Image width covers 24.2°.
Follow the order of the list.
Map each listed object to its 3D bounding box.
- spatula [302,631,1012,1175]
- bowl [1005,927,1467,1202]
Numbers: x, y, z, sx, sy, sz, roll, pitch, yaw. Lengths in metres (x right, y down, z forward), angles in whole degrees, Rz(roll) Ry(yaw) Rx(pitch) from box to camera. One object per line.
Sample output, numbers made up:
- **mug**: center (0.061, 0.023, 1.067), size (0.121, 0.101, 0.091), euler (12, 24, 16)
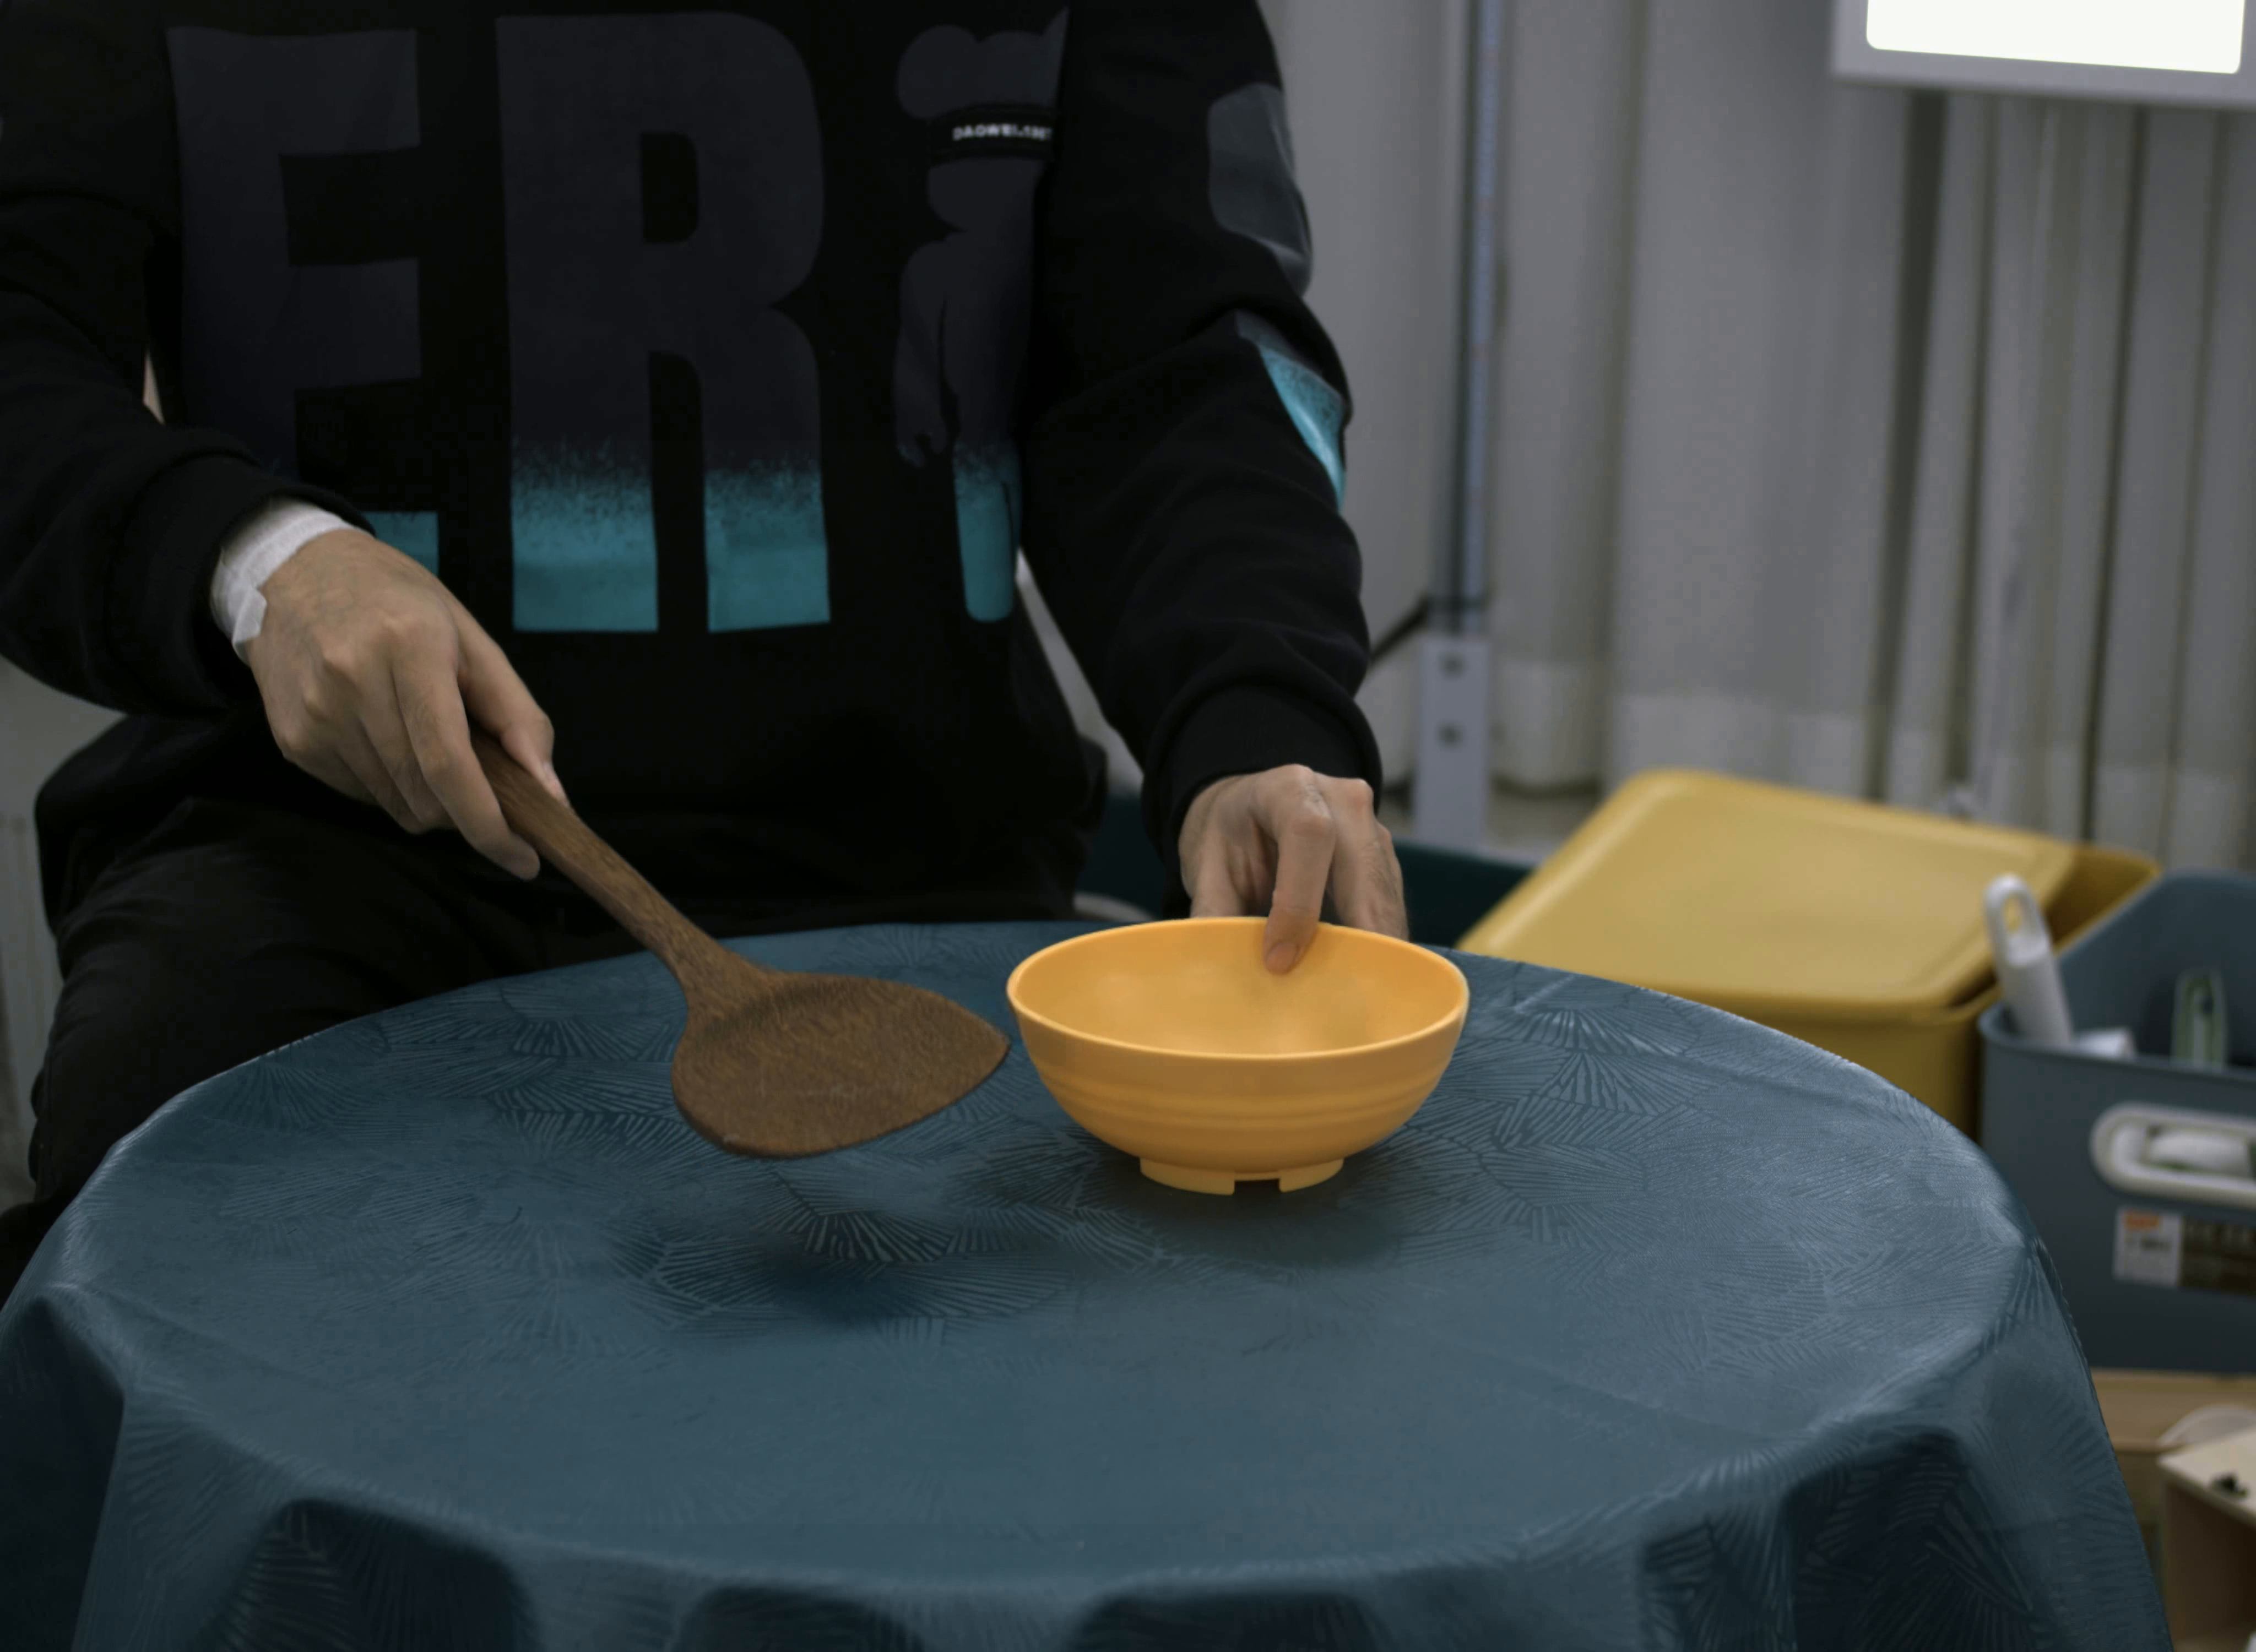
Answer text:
- **spatula**: center (-0.170, 0.014, 1.665), size (0.096, 0.016, 0.380), euler (-23, 37, -26)
- **bowl**: center (0.032, 0.079, 1.645), size (0.145, 0.060, 0.144), euler (3, 14, 0)
